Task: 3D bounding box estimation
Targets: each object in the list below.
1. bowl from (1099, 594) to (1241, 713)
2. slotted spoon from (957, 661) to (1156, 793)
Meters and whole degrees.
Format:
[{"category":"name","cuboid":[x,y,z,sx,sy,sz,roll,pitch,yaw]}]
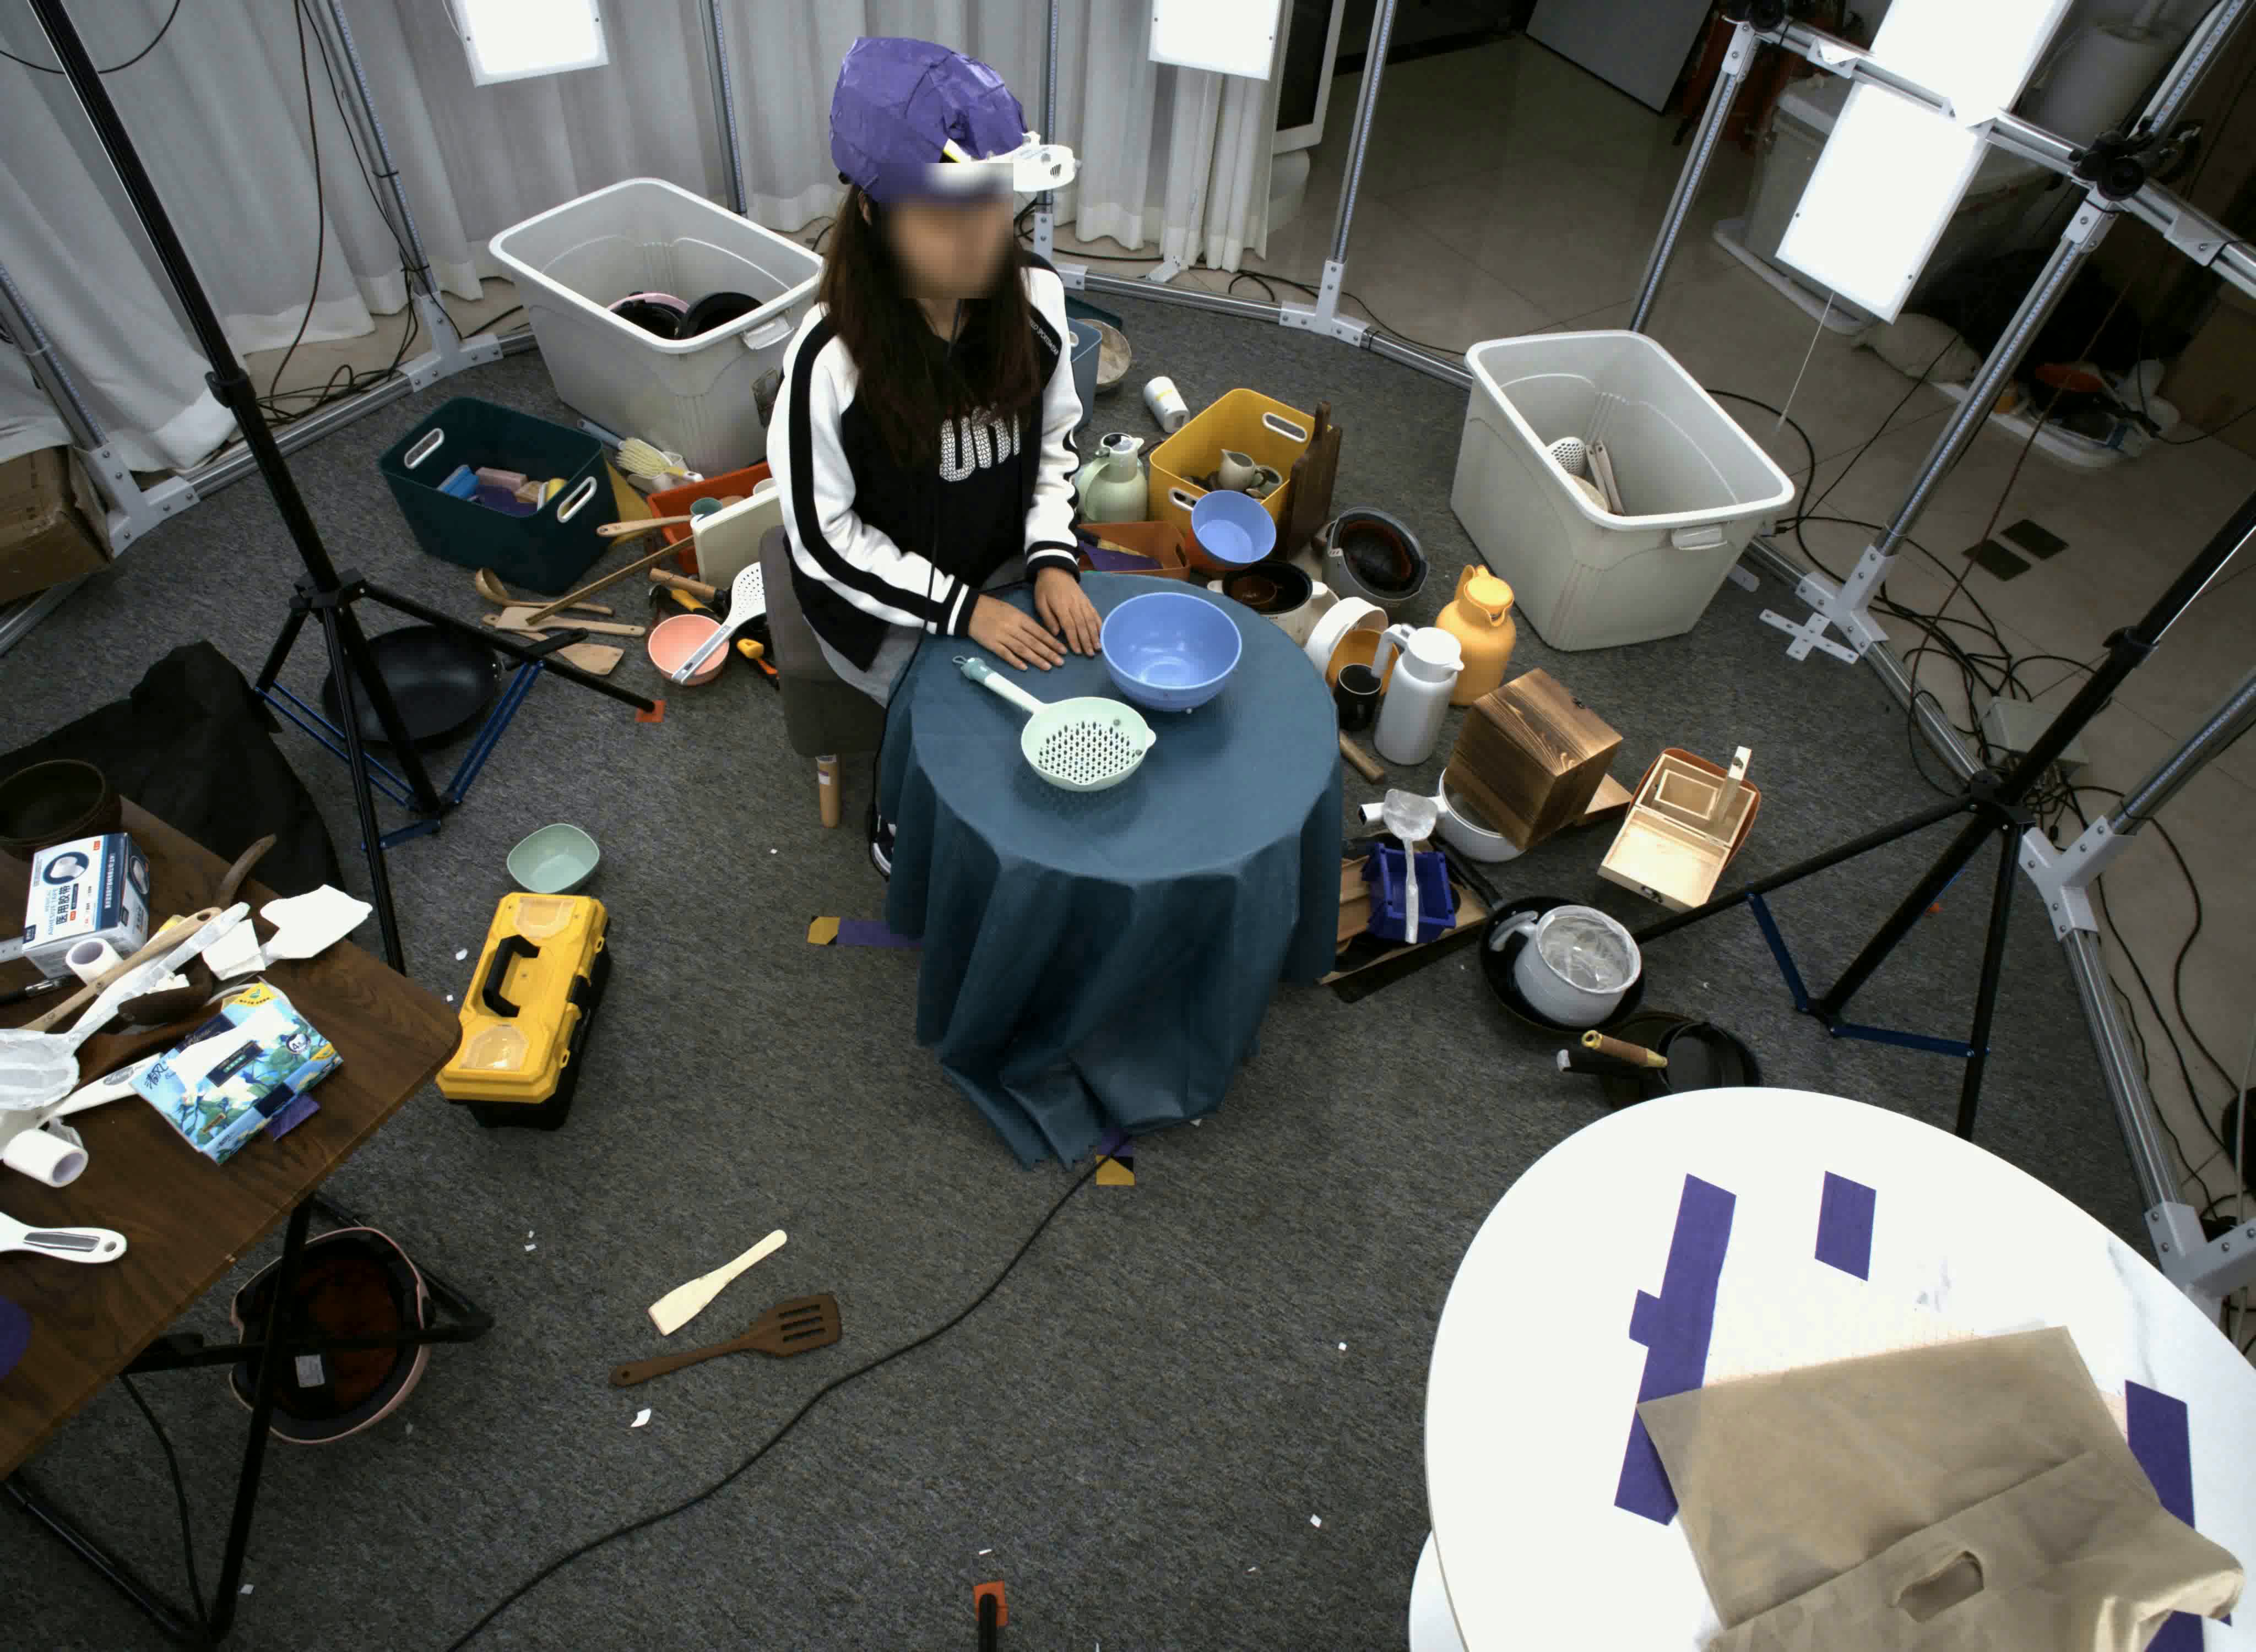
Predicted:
[{"category":"bowl","cuboid":[0.057,-0.228,1.812,0.196,0.093,0.201,1,49,-2]},{"category":"slotted spoon","cuboid":[-0.122,-0.154,1.759,0.170,0.073,0.365,-33,57,-29]}]
